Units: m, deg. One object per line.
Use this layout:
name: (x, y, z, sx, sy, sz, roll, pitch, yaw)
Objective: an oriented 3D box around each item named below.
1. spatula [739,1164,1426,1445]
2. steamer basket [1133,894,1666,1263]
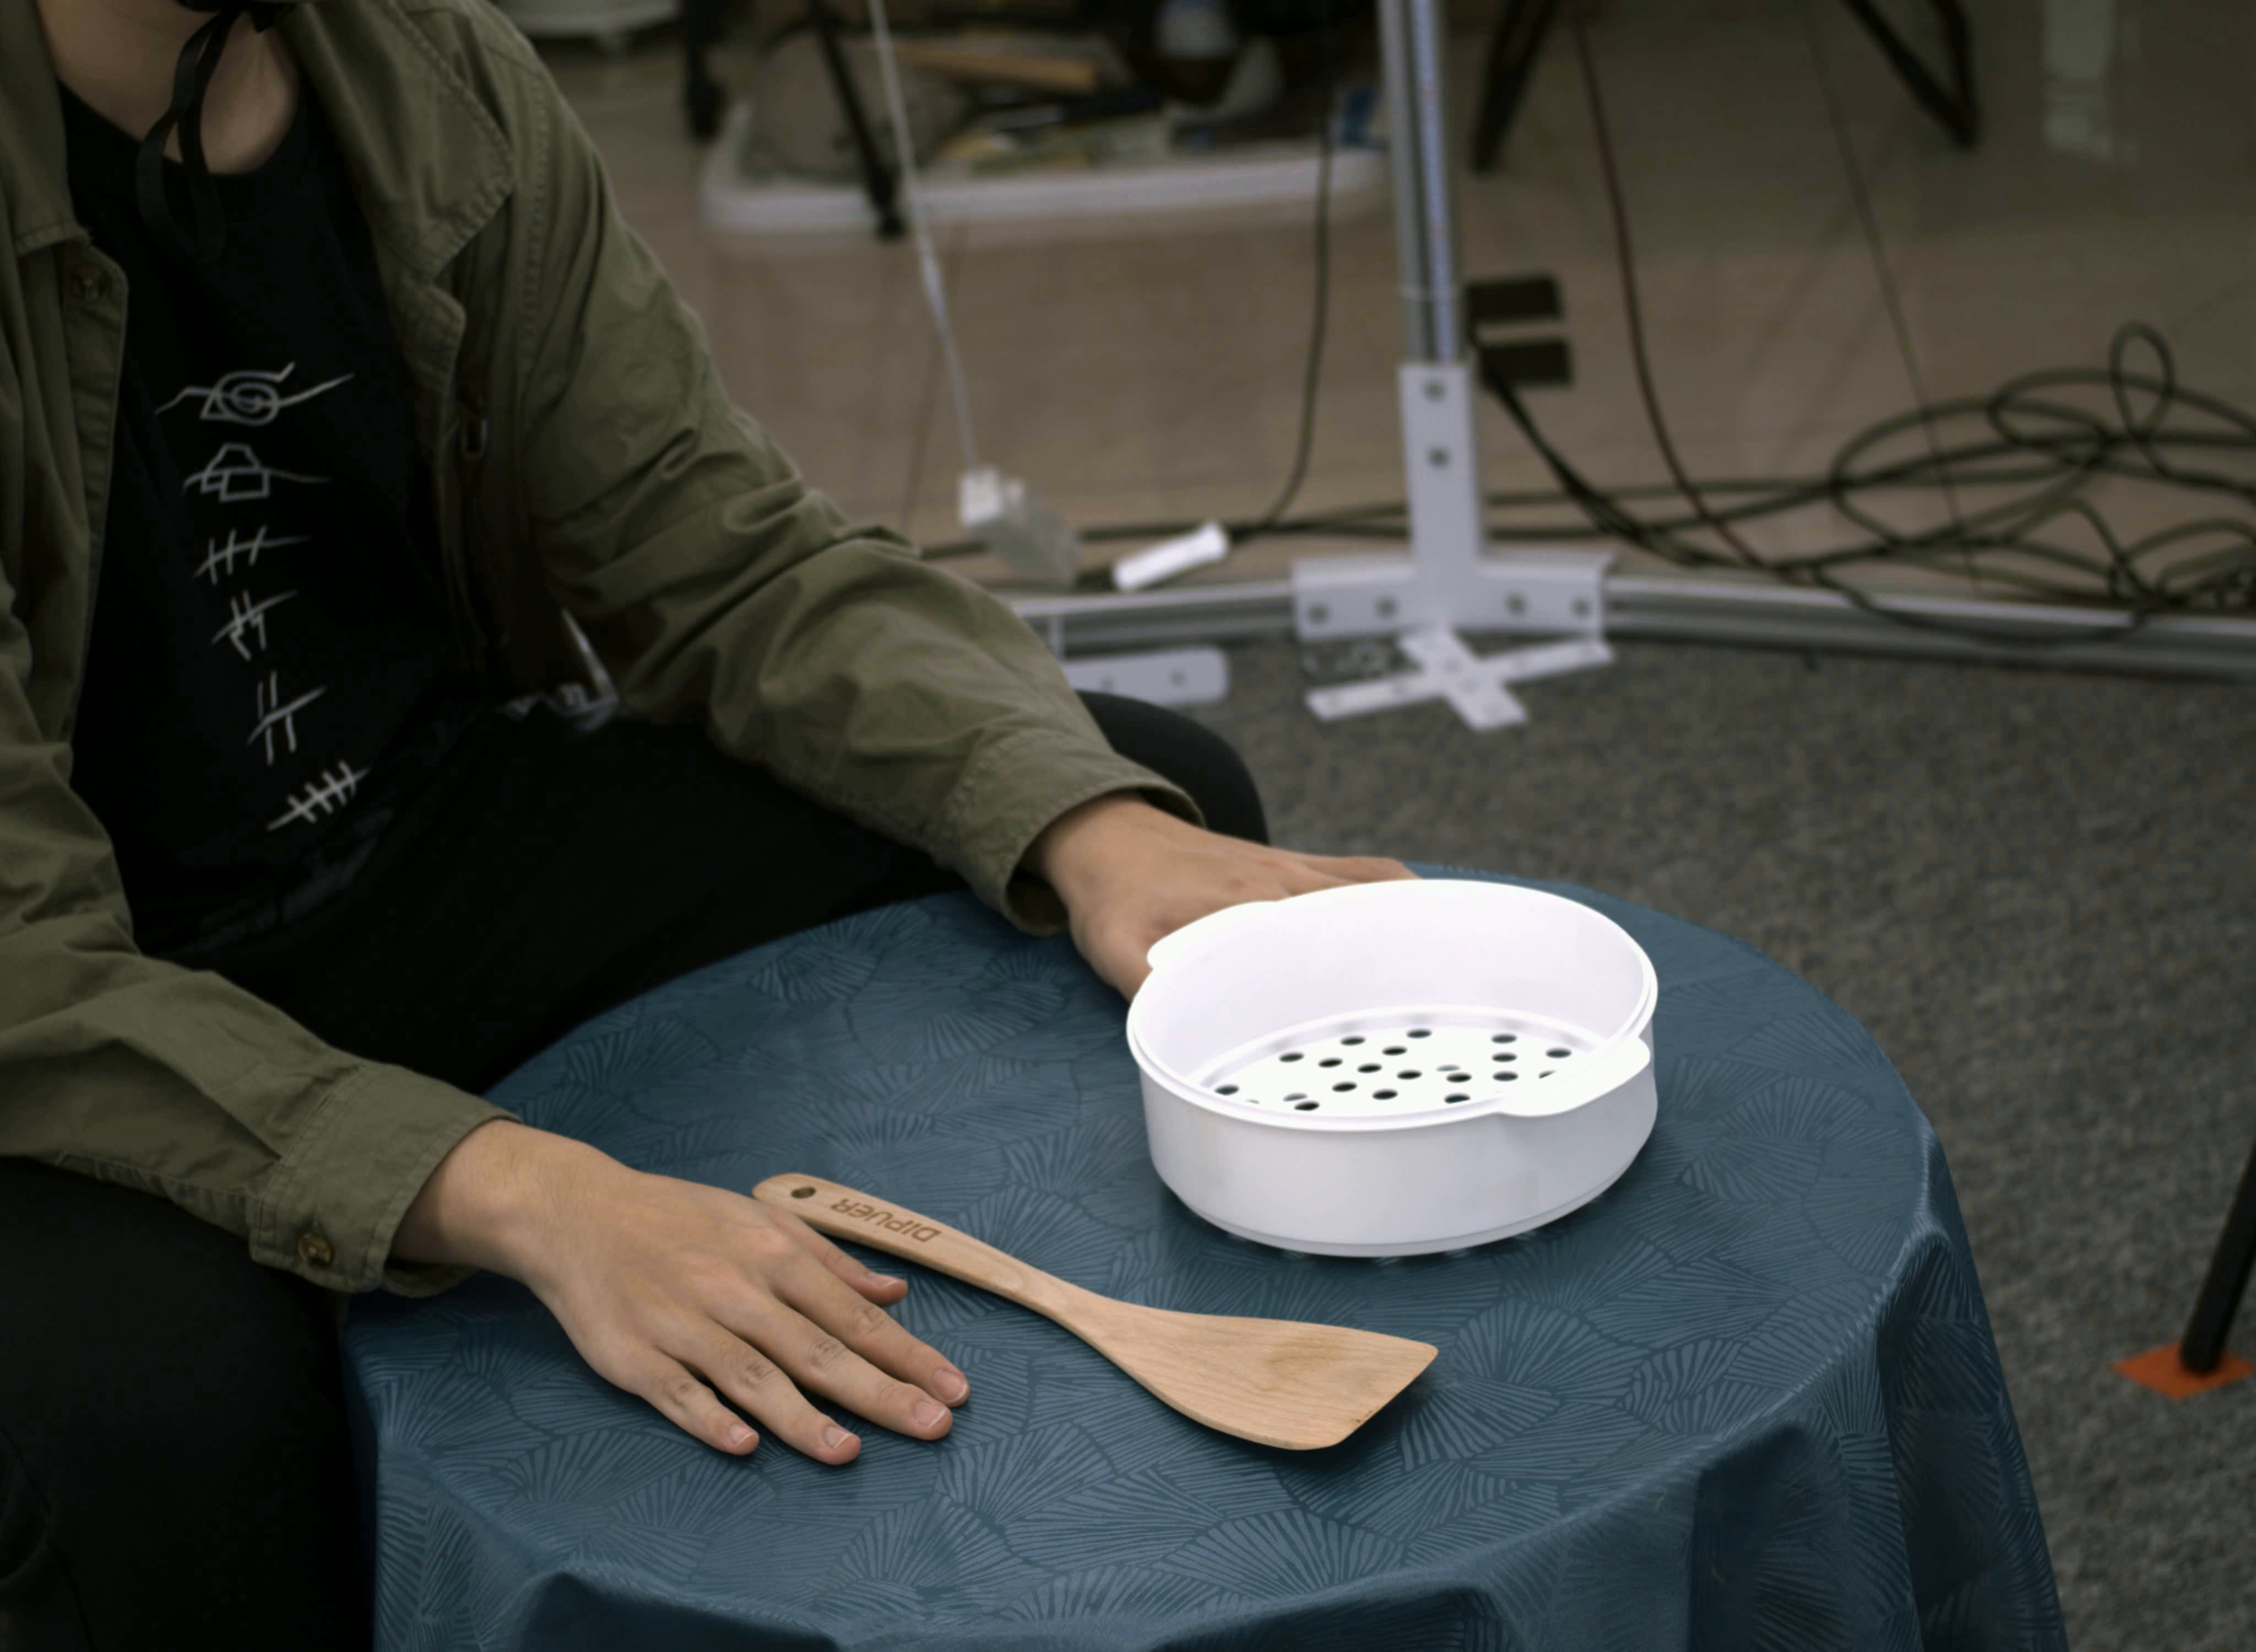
spatula: (-0.027, 0.167, 2.079, 0.325, 0.017, 0.079, 17, 34, 40)
steamer basket: (0.105, 0.096, 2.142, 0.200, 0.070, 0.228, -25, 29, -34)
